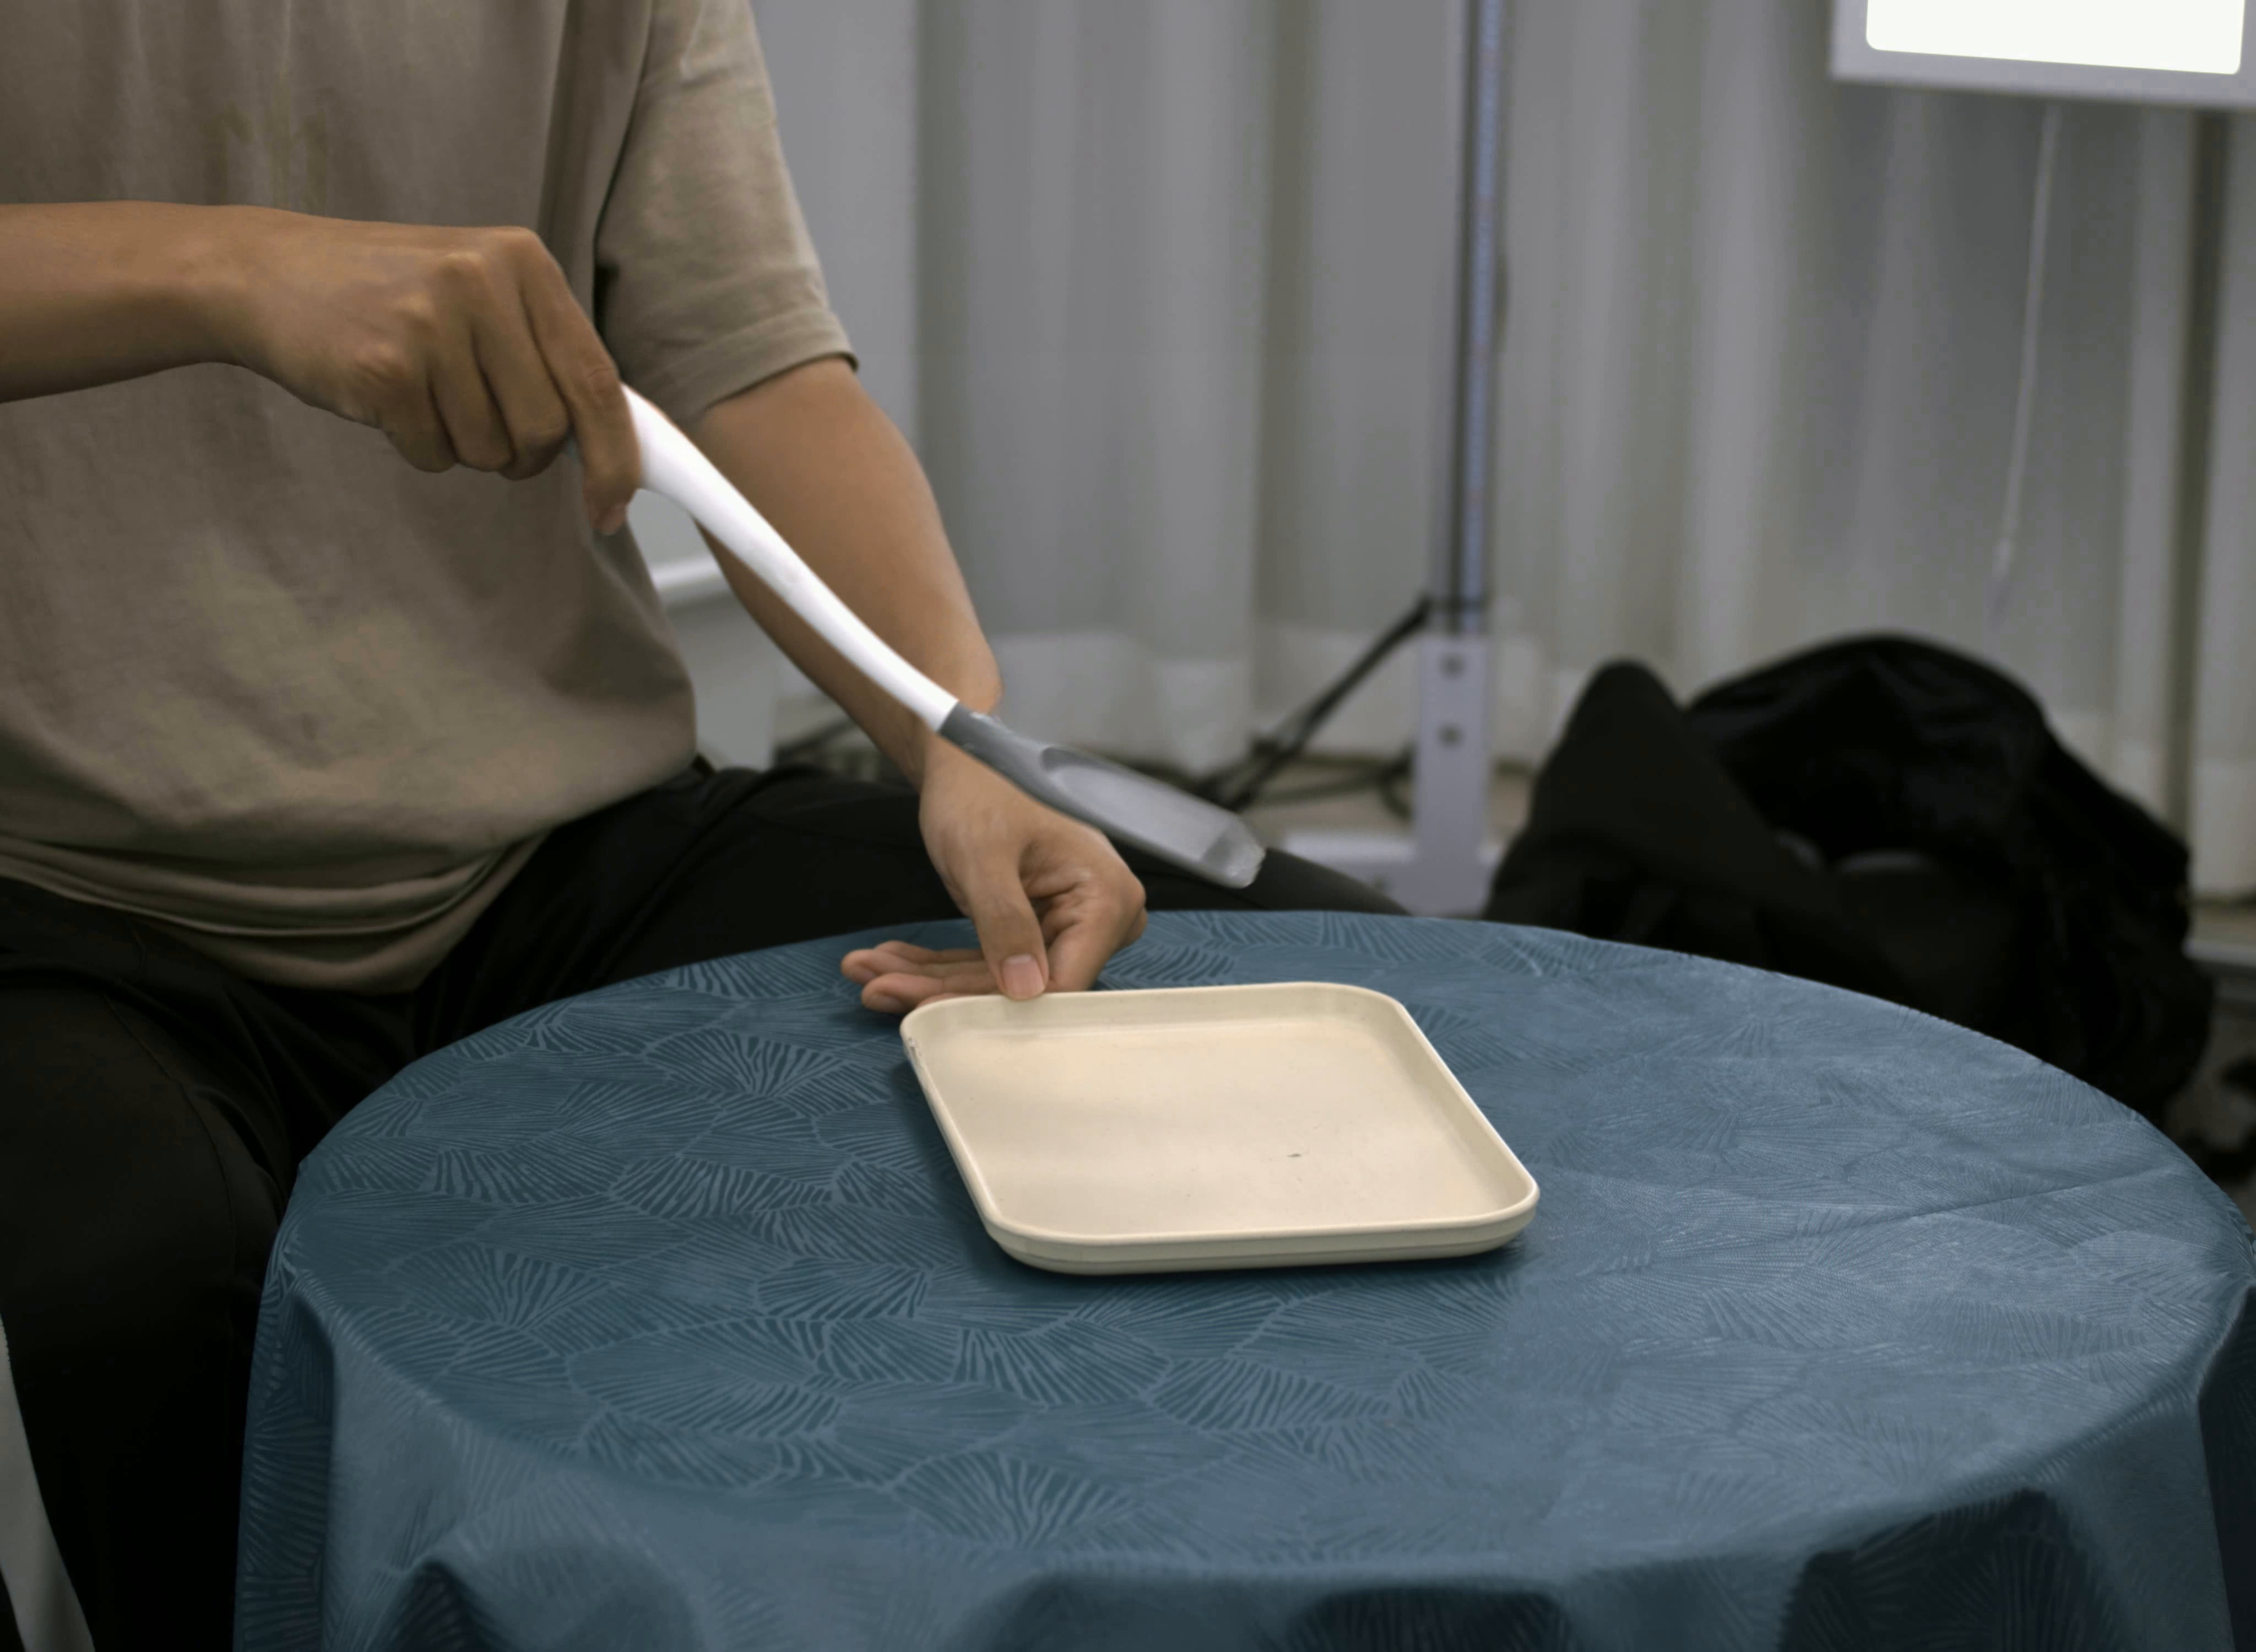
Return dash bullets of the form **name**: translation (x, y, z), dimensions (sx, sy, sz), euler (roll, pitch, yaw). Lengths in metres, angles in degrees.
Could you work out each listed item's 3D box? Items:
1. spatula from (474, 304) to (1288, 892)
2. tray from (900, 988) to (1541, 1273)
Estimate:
- **spatula**: translation (-0.074, -0.064, 1.611), dimensions (0.288, 0.032, 0.058), euler (36, 16, -4)
- **tray**: translation (0.025, 0.095, 1.658), dimensions (0.171, 0.017, 0.237), euler (-1, 15, -11)
